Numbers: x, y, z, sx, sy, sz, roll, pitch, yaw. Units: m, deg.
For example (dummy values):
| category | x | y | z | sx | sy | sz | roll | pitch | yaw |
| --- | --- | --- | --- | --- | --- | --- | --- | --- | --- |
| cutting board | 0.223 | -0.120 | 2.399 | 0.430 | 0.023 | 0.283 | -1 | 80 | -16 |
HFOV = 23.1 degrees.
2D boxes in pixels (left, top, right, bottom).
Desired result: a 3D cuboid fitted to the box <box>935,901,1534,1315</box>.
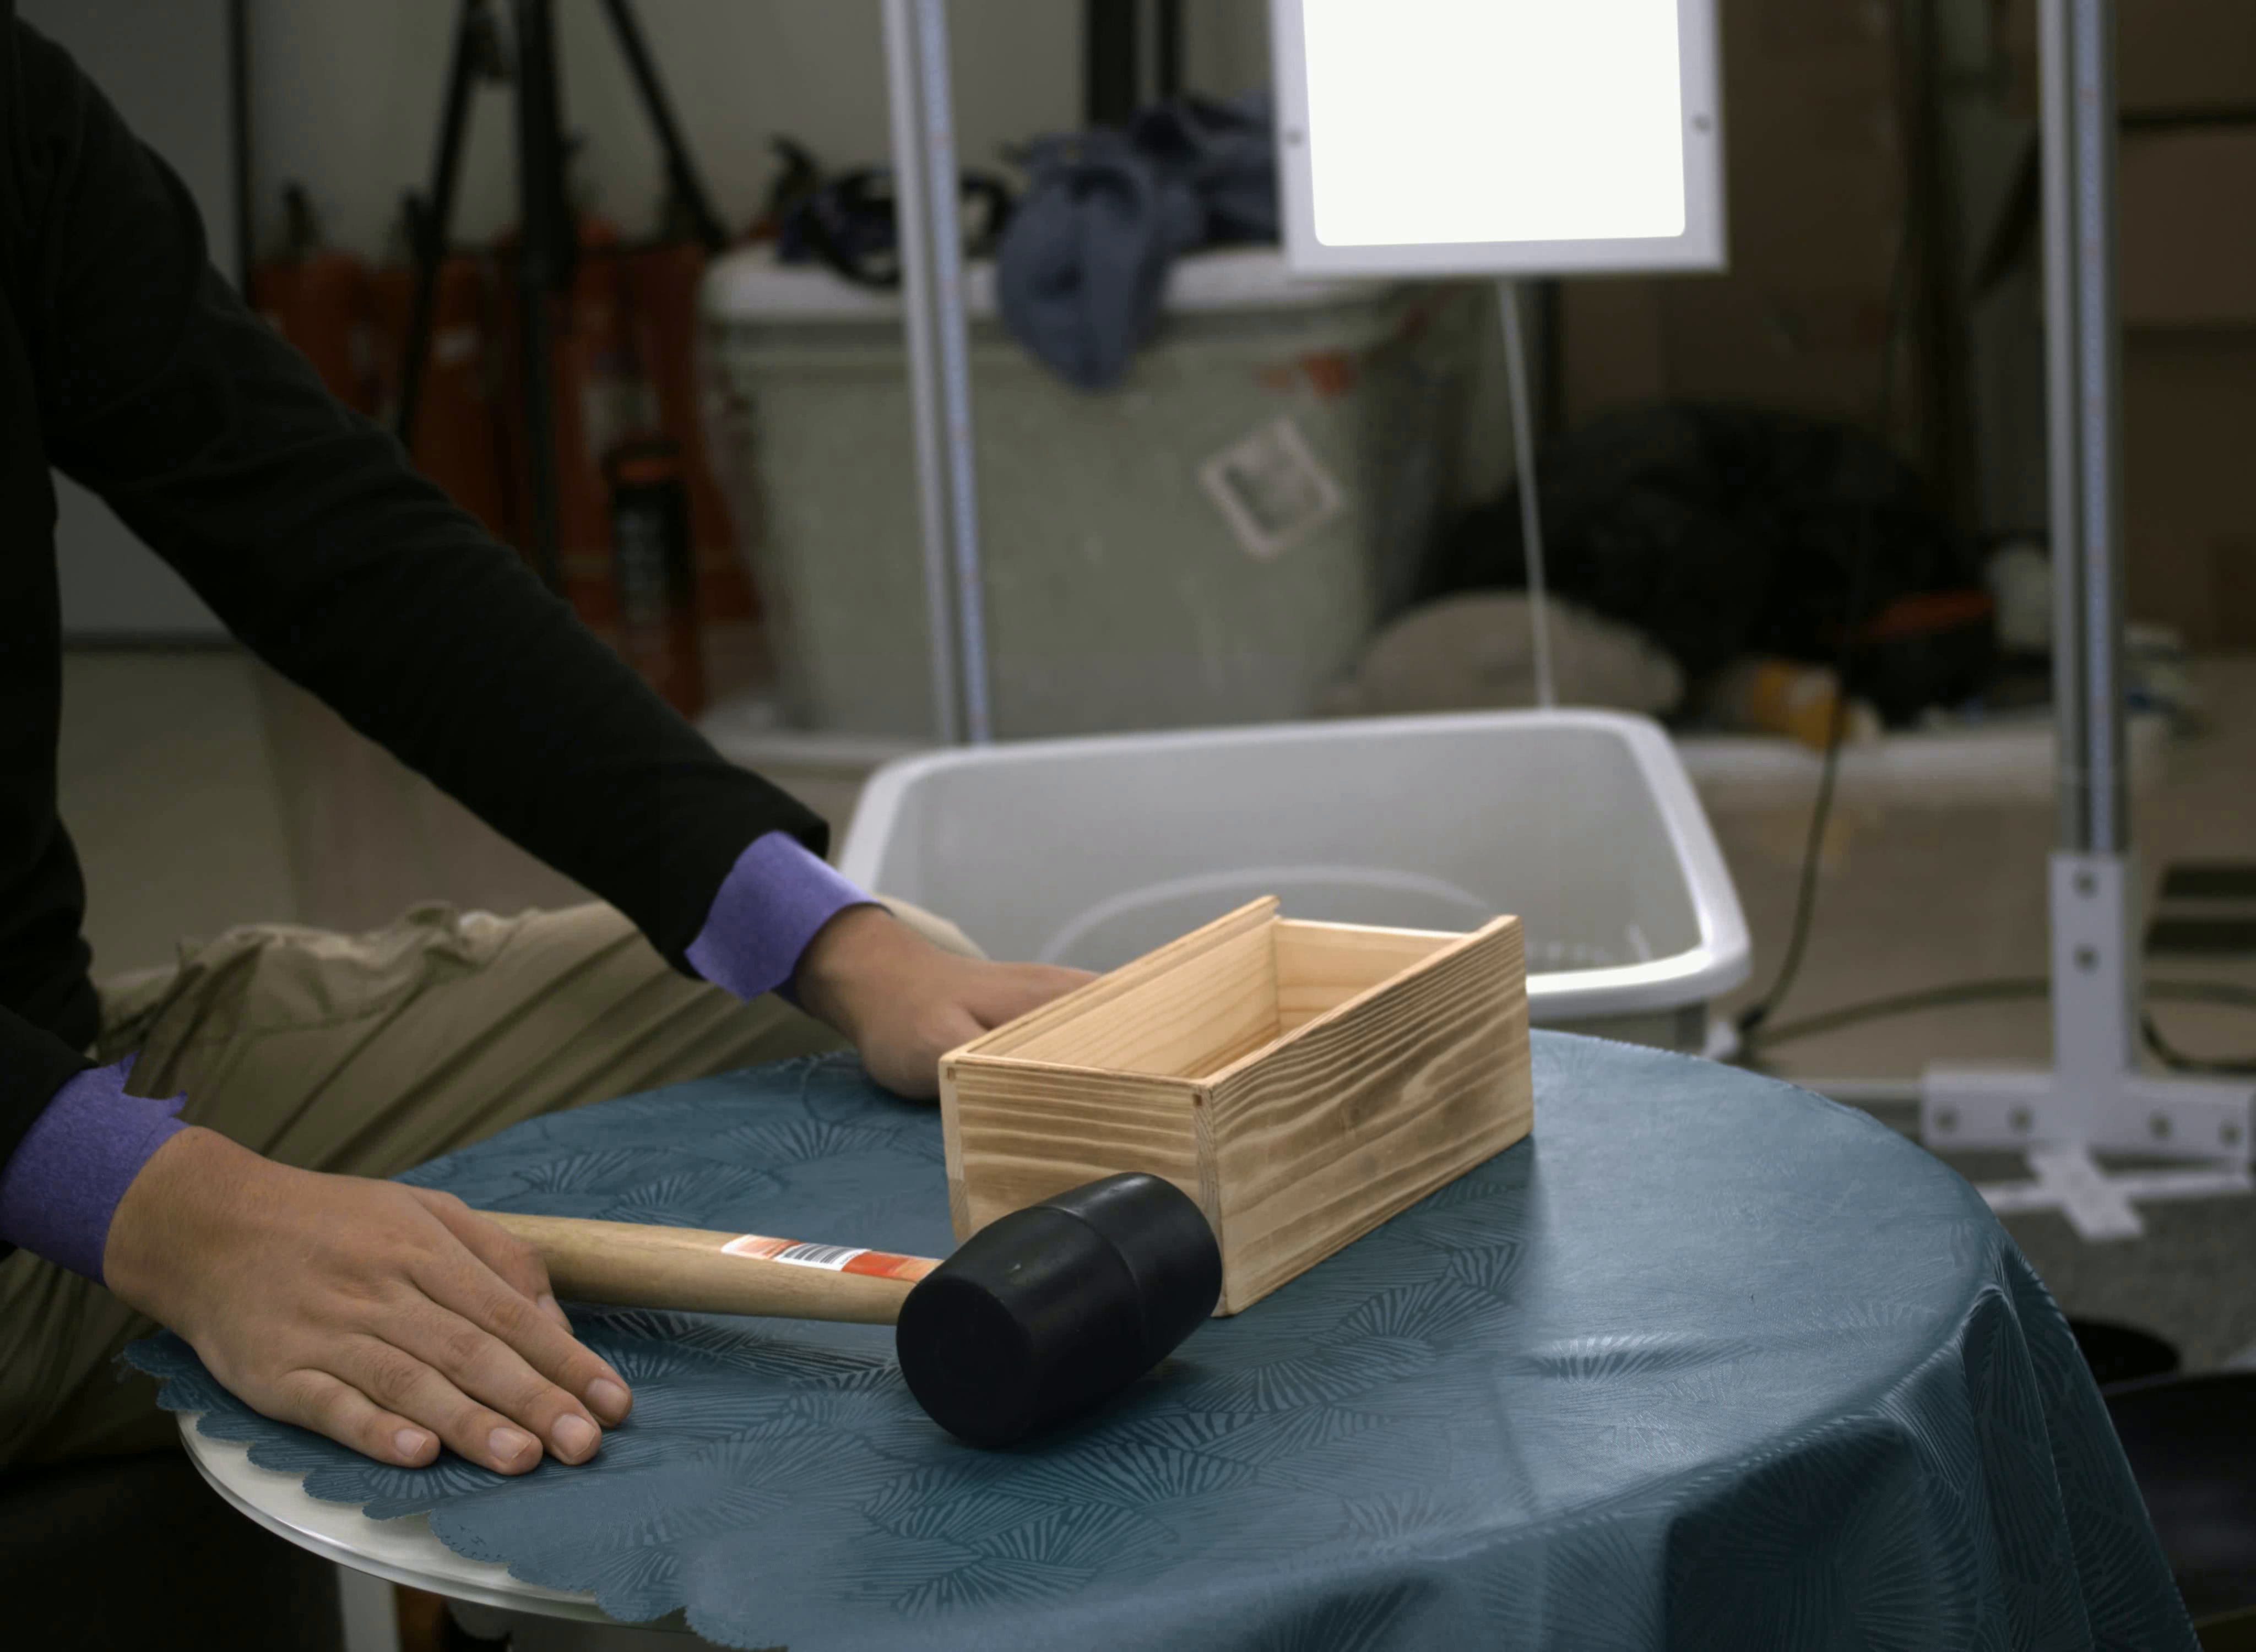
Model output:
| category | x | y | z | sx | sy | sz | roll | pitch | yaw |
| --- | --- | --- | --- | --- | --- | --- | --- | --- | --- |
| box | 0.040 | 0.091 | 1.860 | 0.109 | 0.080 | 0.206 | 4 | 16 | 33 |

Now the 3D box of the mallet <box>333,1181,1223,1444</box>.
| category | x | y | z | sx | sy | sz | roll | pitch | yaw |
| --- | --- | --- | --- | --- | --- | --- | --- | --- | --- |
| mallet | -0.130 | 0.138 | 1.776 | 0.346 | 0.064 | 0.099 | 6 | 16 | 39 |
